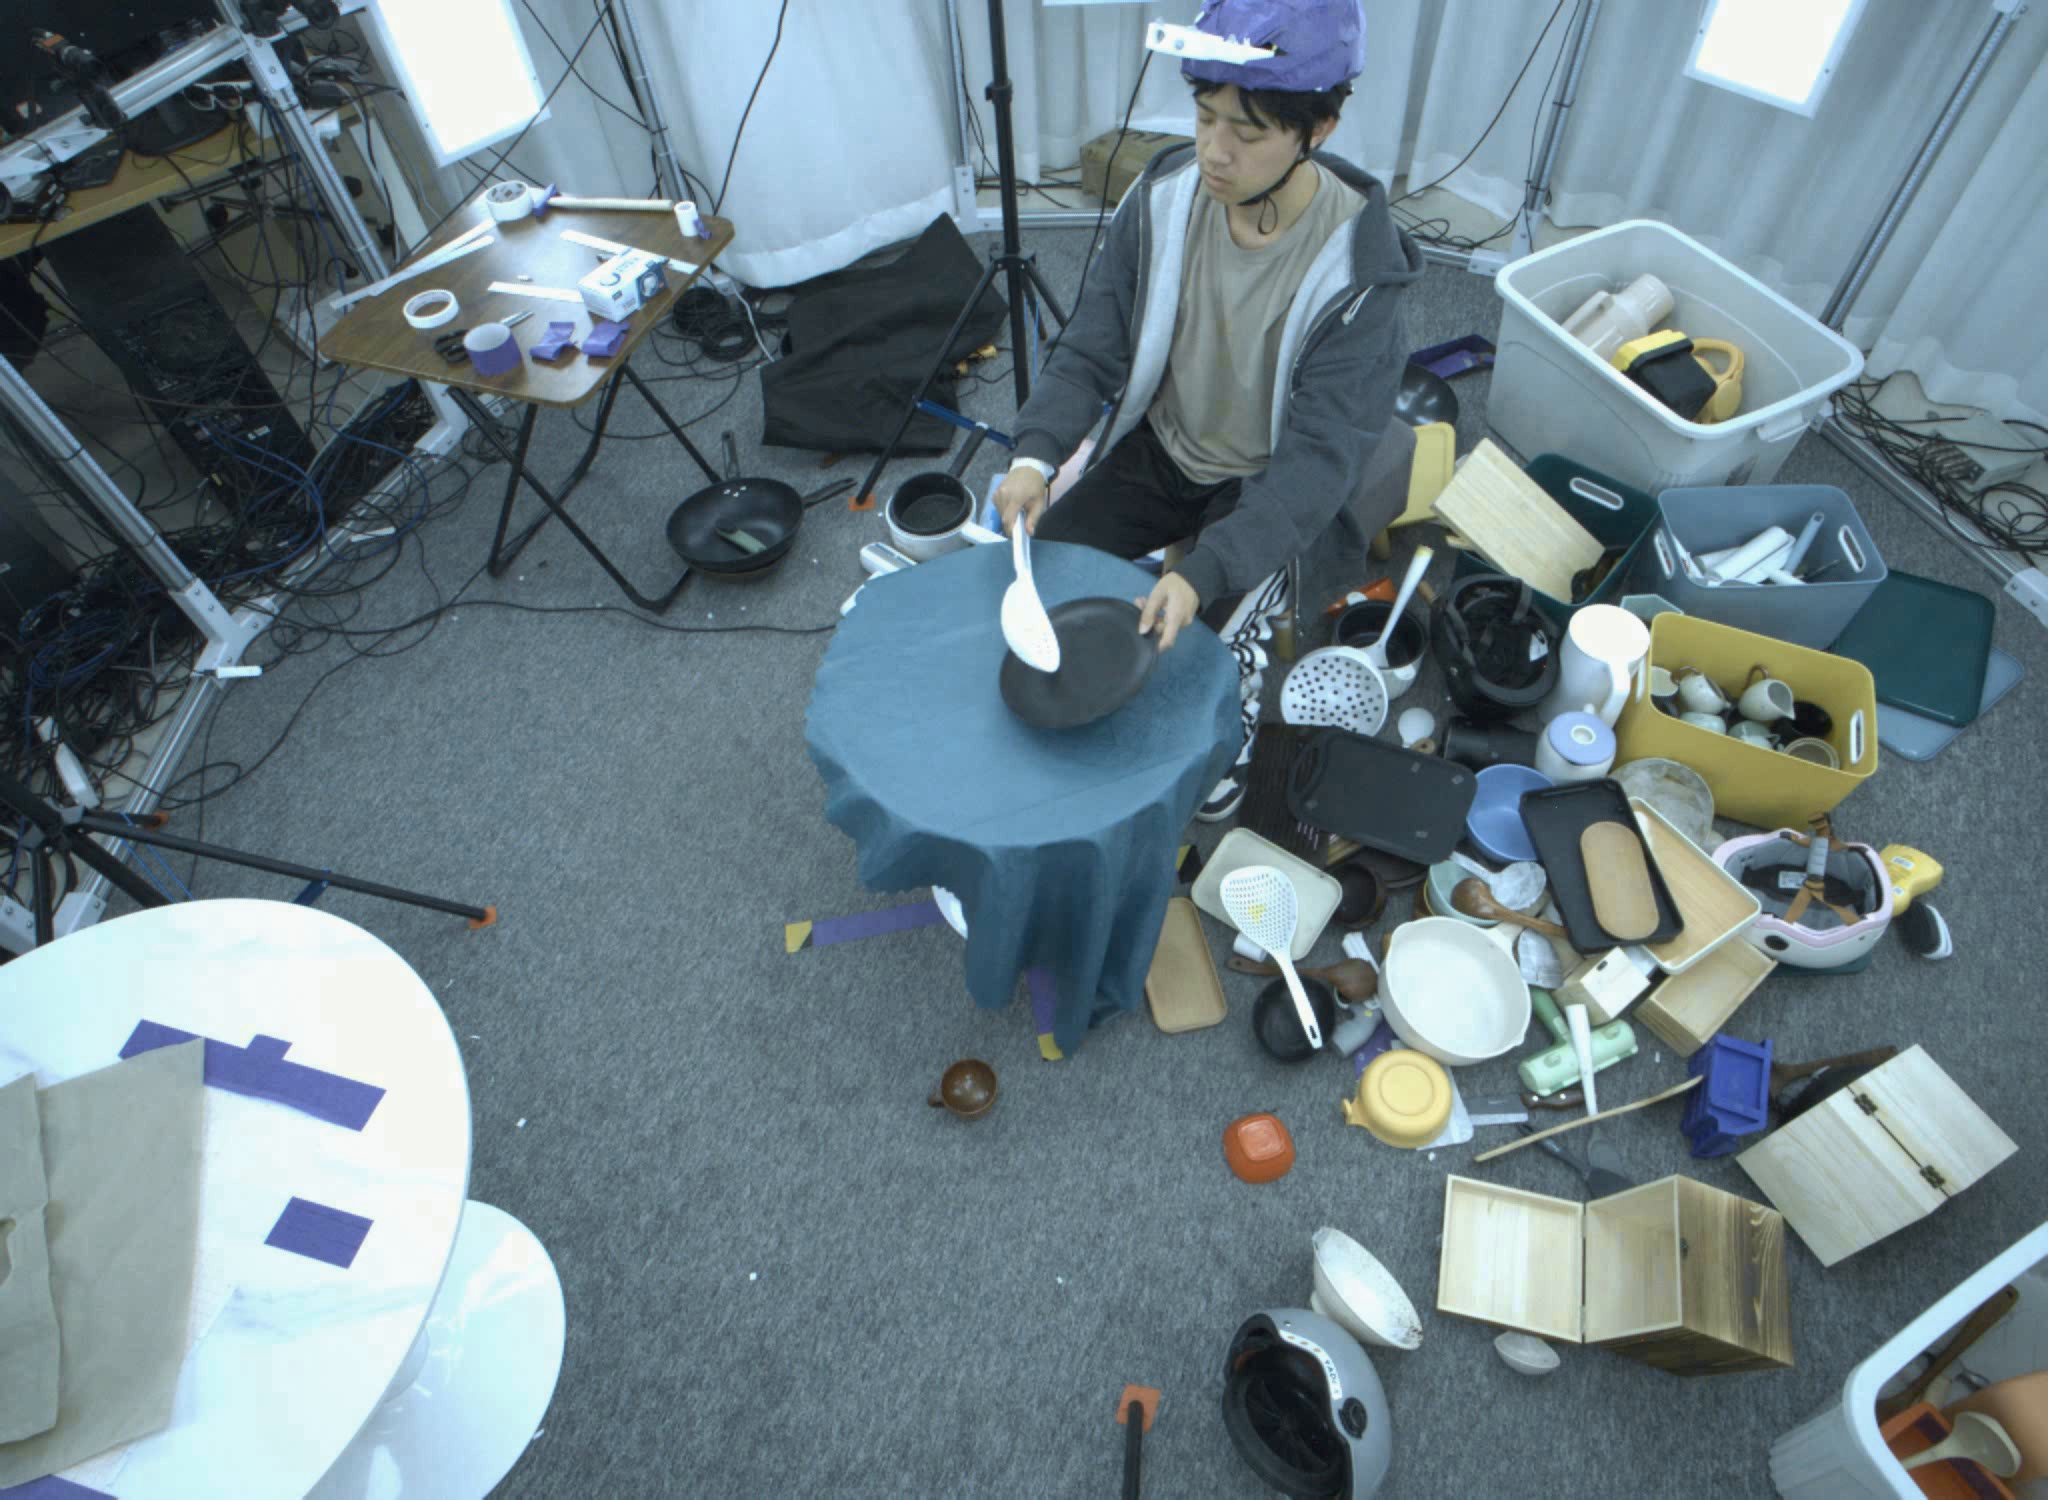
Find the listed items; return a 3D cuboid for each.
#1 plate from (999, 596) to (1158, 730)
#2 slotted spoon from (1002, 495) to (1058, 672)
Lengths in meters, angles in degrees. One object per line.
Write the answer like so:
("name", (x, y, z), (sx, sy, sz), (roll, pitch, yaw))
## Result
("plate", (0.080, -0.125, 1.801), (0.242, 0.024, 0.242), (-10, 53, 16))
("slotted spoon", (-0.001, -0.259, 1.842), (0.045, 0.139, 0.346), (-19, 53, 26))
